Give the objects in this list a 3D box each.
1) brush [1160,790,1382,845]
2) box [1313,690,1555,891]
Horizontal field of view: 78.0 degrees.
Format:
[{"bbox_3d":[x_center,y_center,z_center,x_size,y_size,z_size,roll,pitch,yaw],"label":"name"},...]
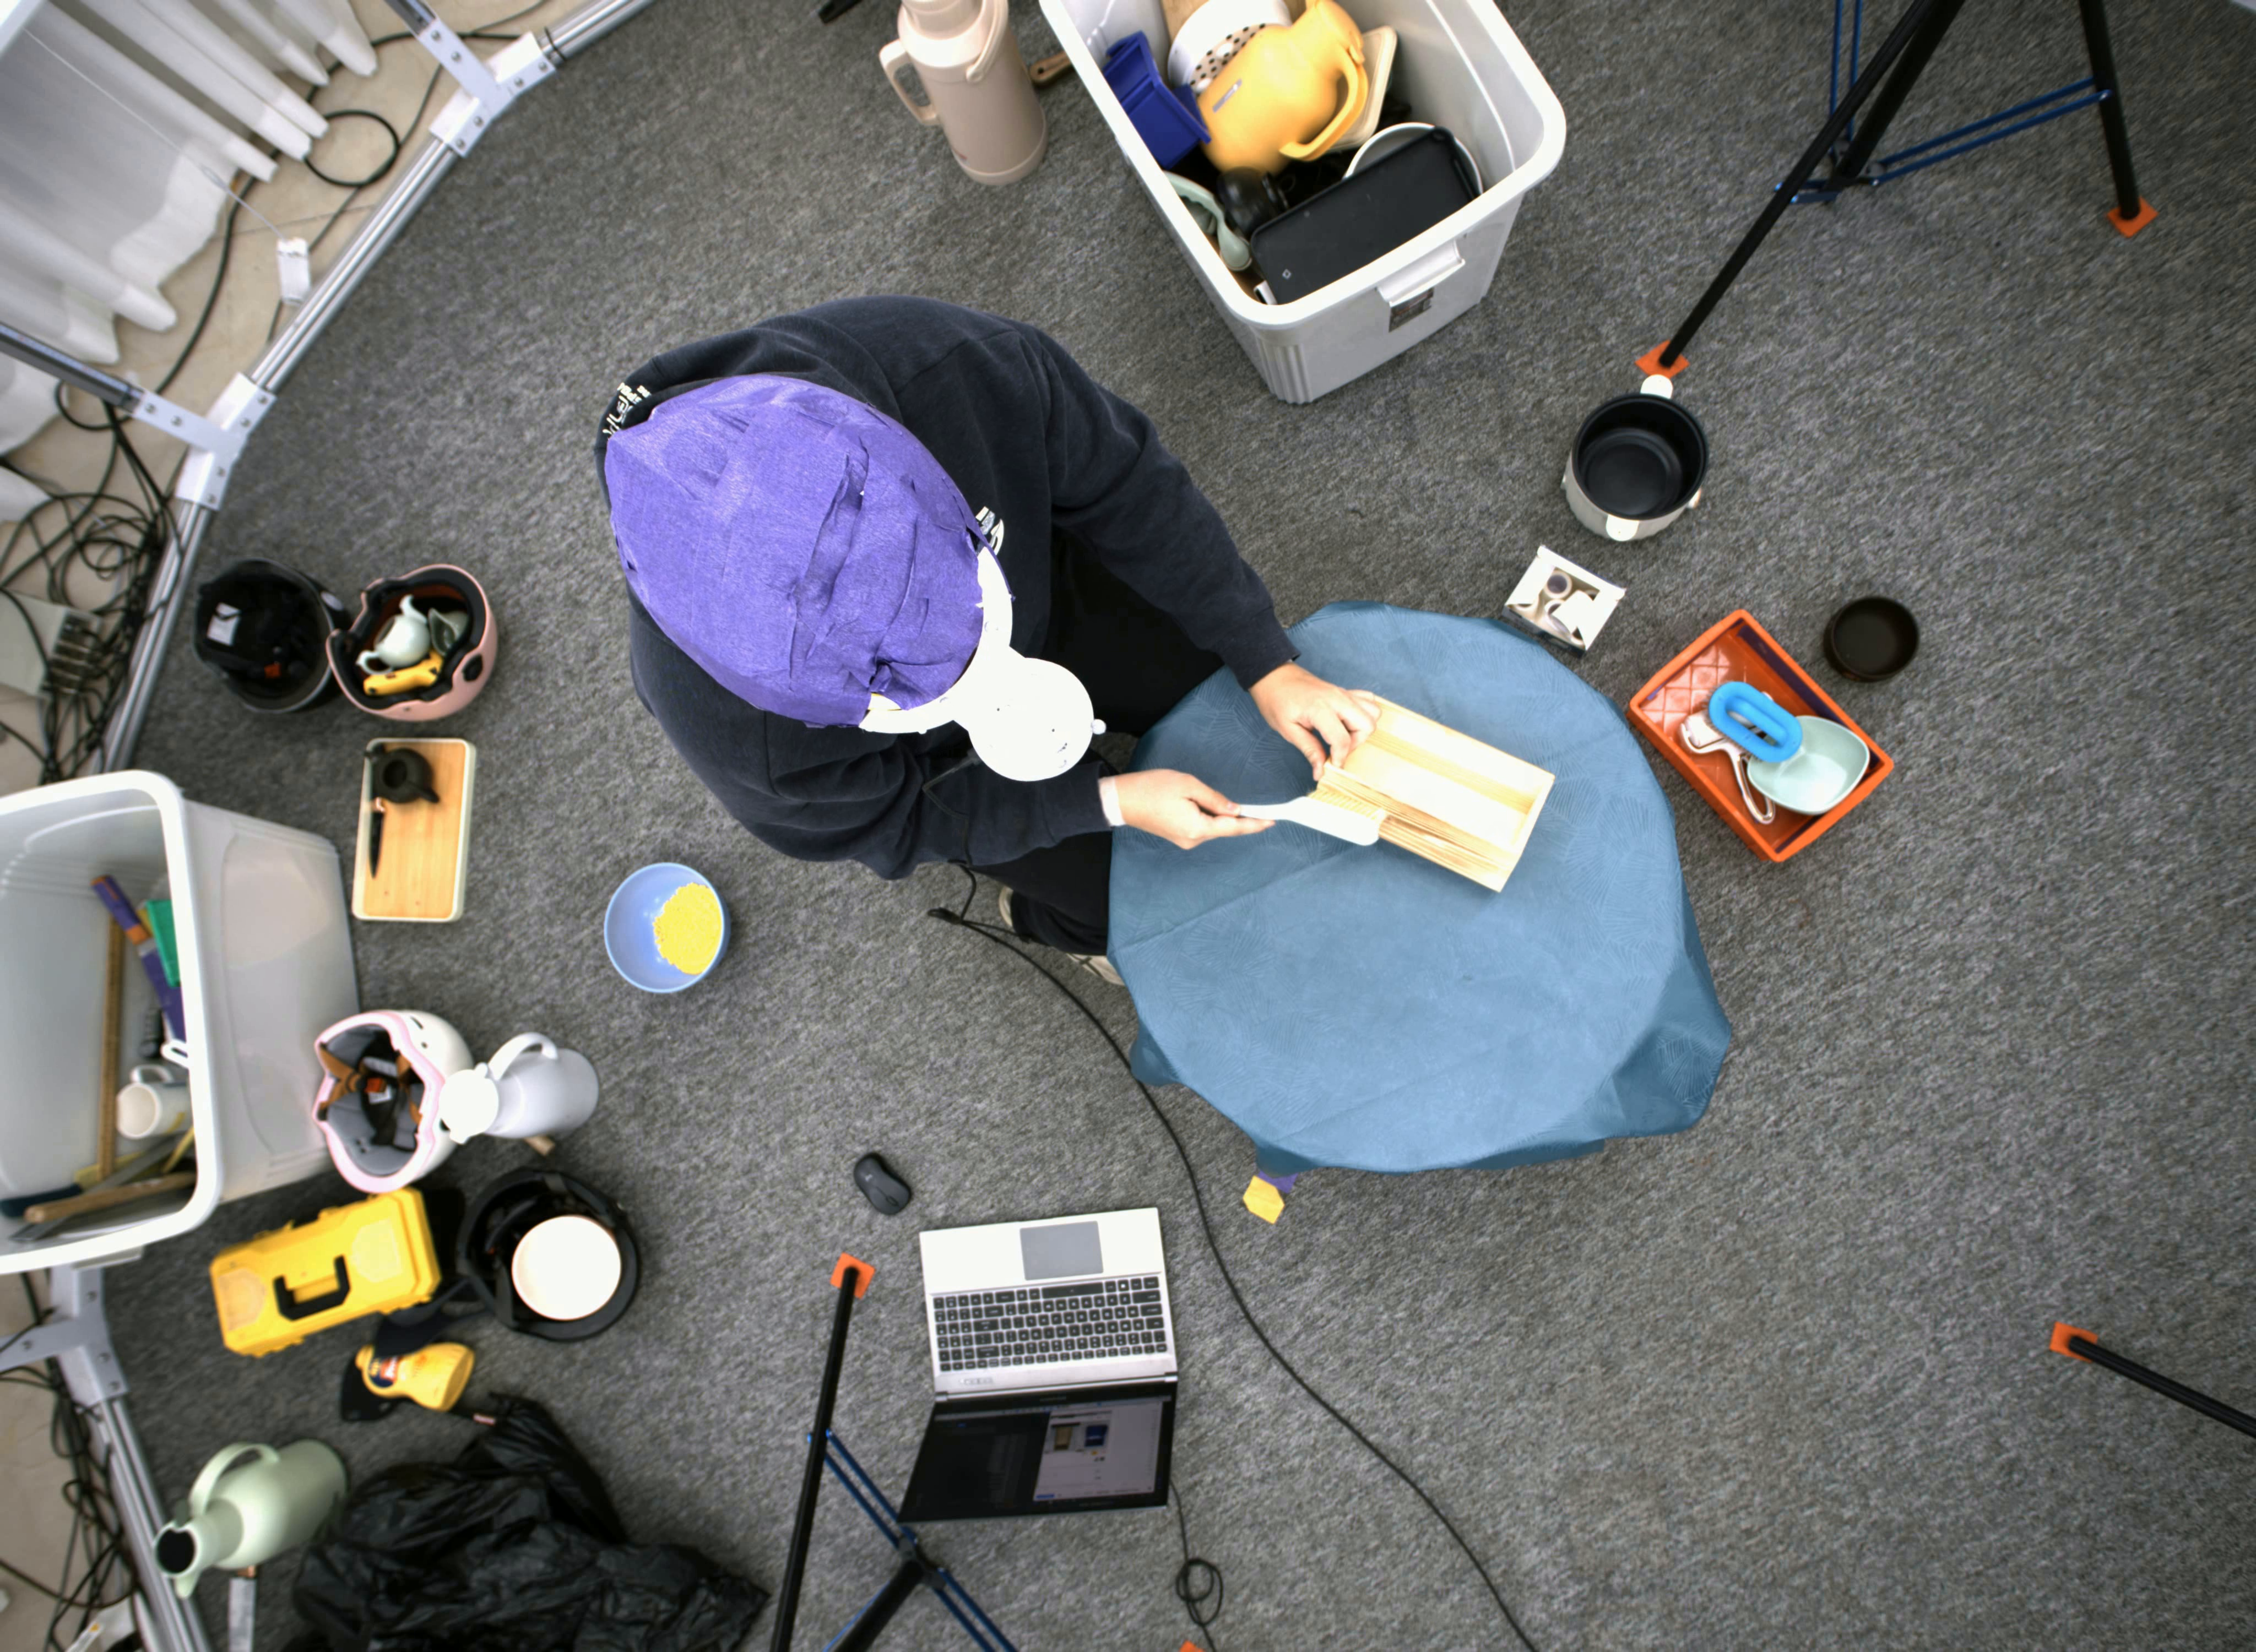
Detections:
[{"bbox_3d":[0.144,-0.018,1.409,0.229,0.038,0.048,6,58,17],"label":"brush"},{"bbox_3d":[0.309,-0.038,1.401,0.211,0.082,0.105,25,65,11],"label":"box"}]
